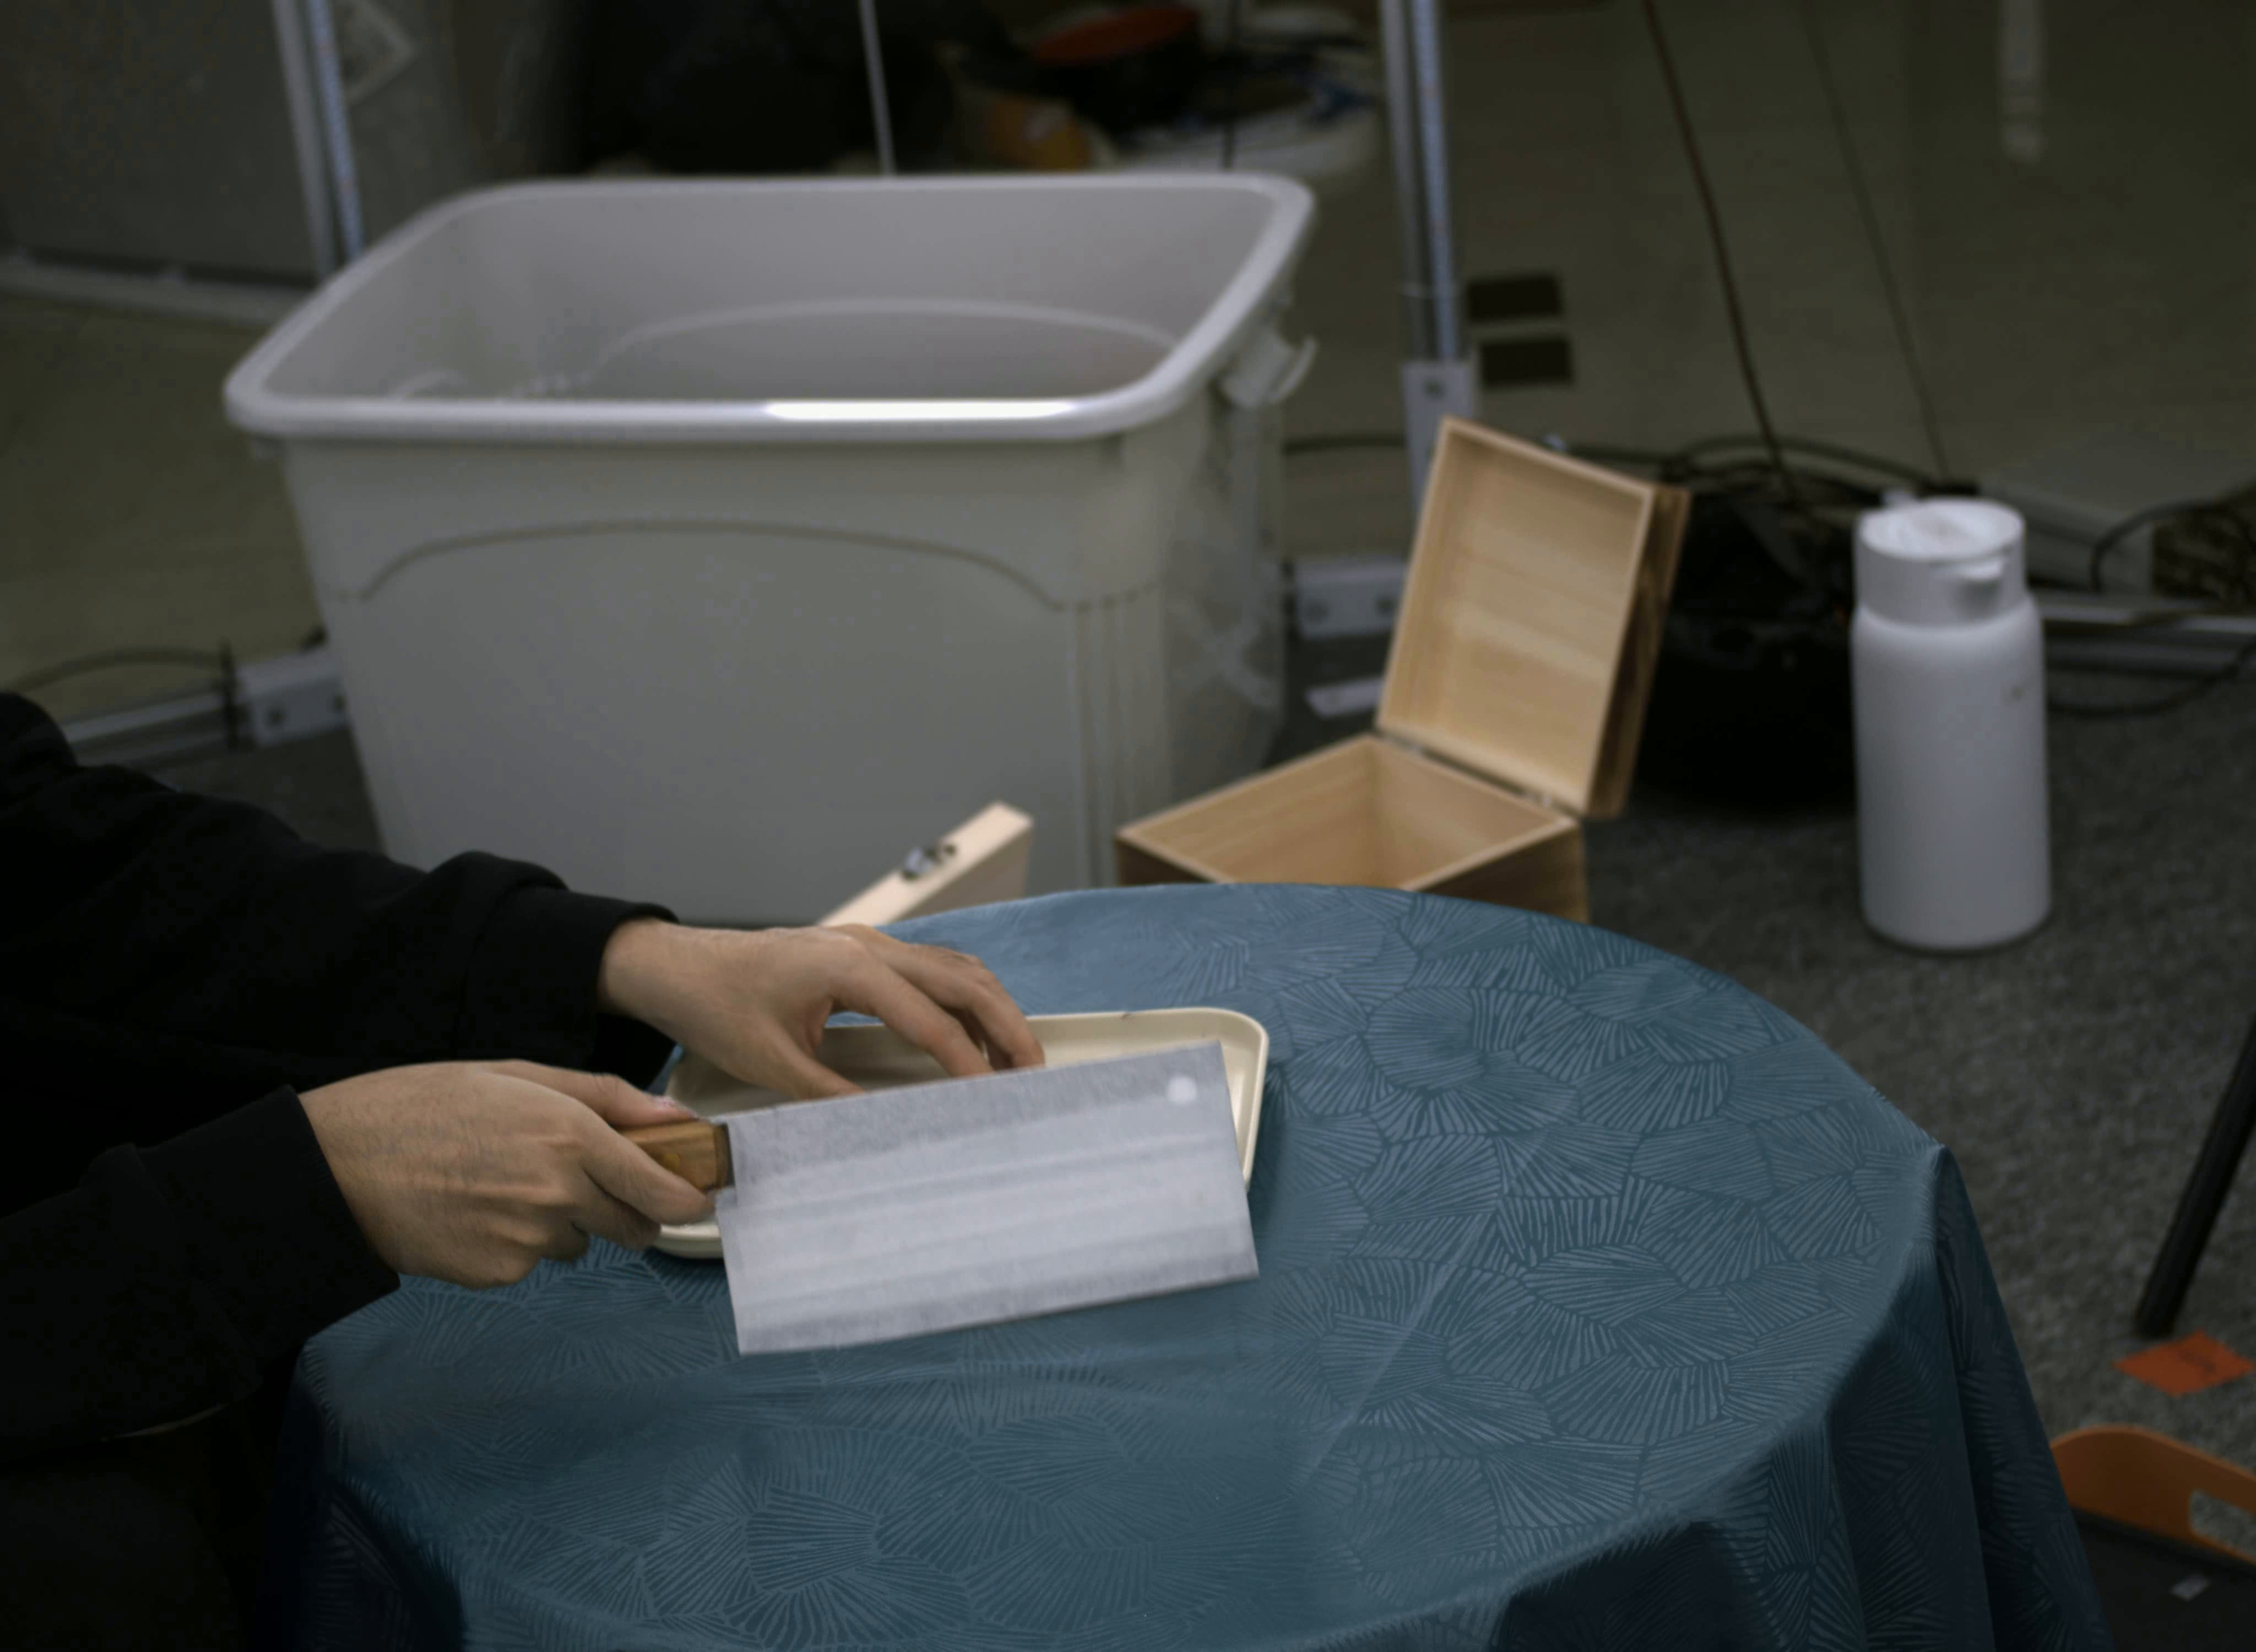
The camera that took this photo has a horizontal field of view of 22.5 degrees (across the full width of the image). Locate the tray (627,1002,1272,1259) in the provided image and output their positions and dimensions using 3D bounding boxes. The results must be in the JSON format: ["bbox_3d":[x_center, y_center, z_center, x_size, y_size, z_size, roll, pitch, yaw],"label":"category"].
[{"bbox_3d":[-0.066,0.118,2.184,0.239,0.018,0.168,-2,27,8],"label":"tray"}]

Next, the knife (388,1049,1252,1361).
[{"bbox_3d":[-0.109,0.143,2.025,0.305,0.094,0.021,-8,13,4],"label":"knife"}]
